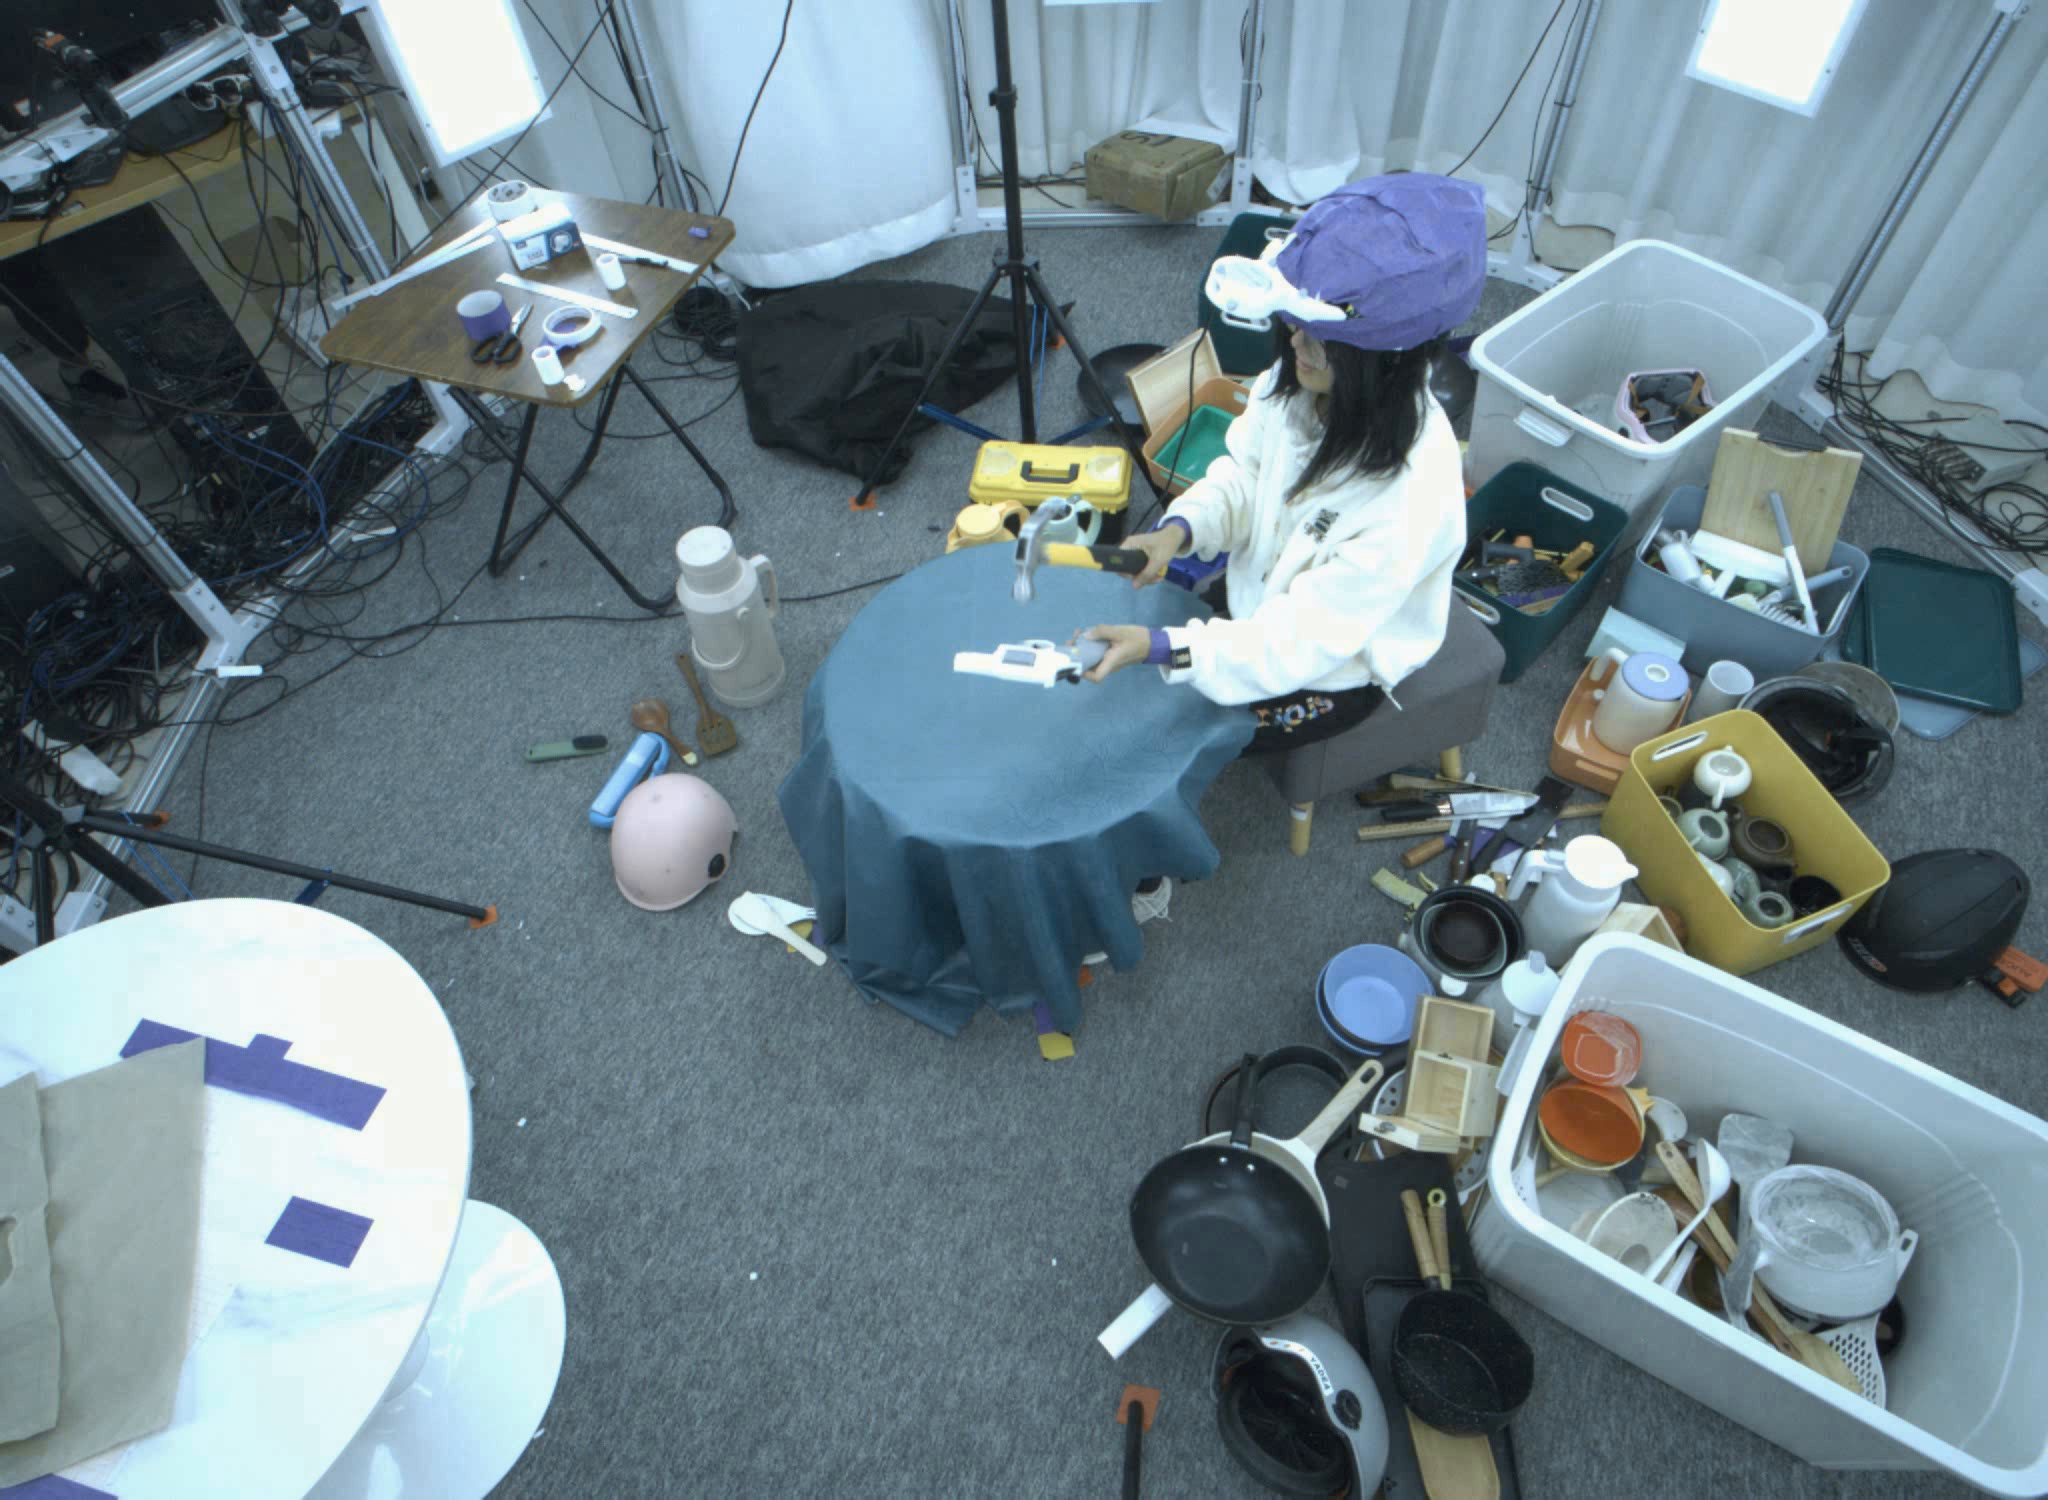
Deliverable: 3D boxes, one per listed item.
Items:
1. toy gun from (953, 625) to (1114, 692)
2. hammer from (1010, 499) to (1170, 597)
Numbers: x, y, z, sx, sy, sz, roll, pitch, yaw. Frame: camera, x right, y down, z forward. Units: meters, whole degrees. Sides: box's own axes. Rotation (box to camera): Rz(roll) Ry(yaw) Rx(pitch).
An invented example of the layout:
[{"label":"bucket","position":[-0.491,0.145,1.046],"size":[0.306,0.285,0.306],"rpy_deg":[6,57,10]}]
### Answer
[{"label":"toy gun","position":[0.015,-0.129,1.672],"size":[0.209,0.039,0.140],"rpy_deg":[8,38,1]},{"label":"hammer","position":[0.102,-0.273,1.722],"size":[0.031,0.131,0.345],"rpy_deg":[14,11,38]}]
